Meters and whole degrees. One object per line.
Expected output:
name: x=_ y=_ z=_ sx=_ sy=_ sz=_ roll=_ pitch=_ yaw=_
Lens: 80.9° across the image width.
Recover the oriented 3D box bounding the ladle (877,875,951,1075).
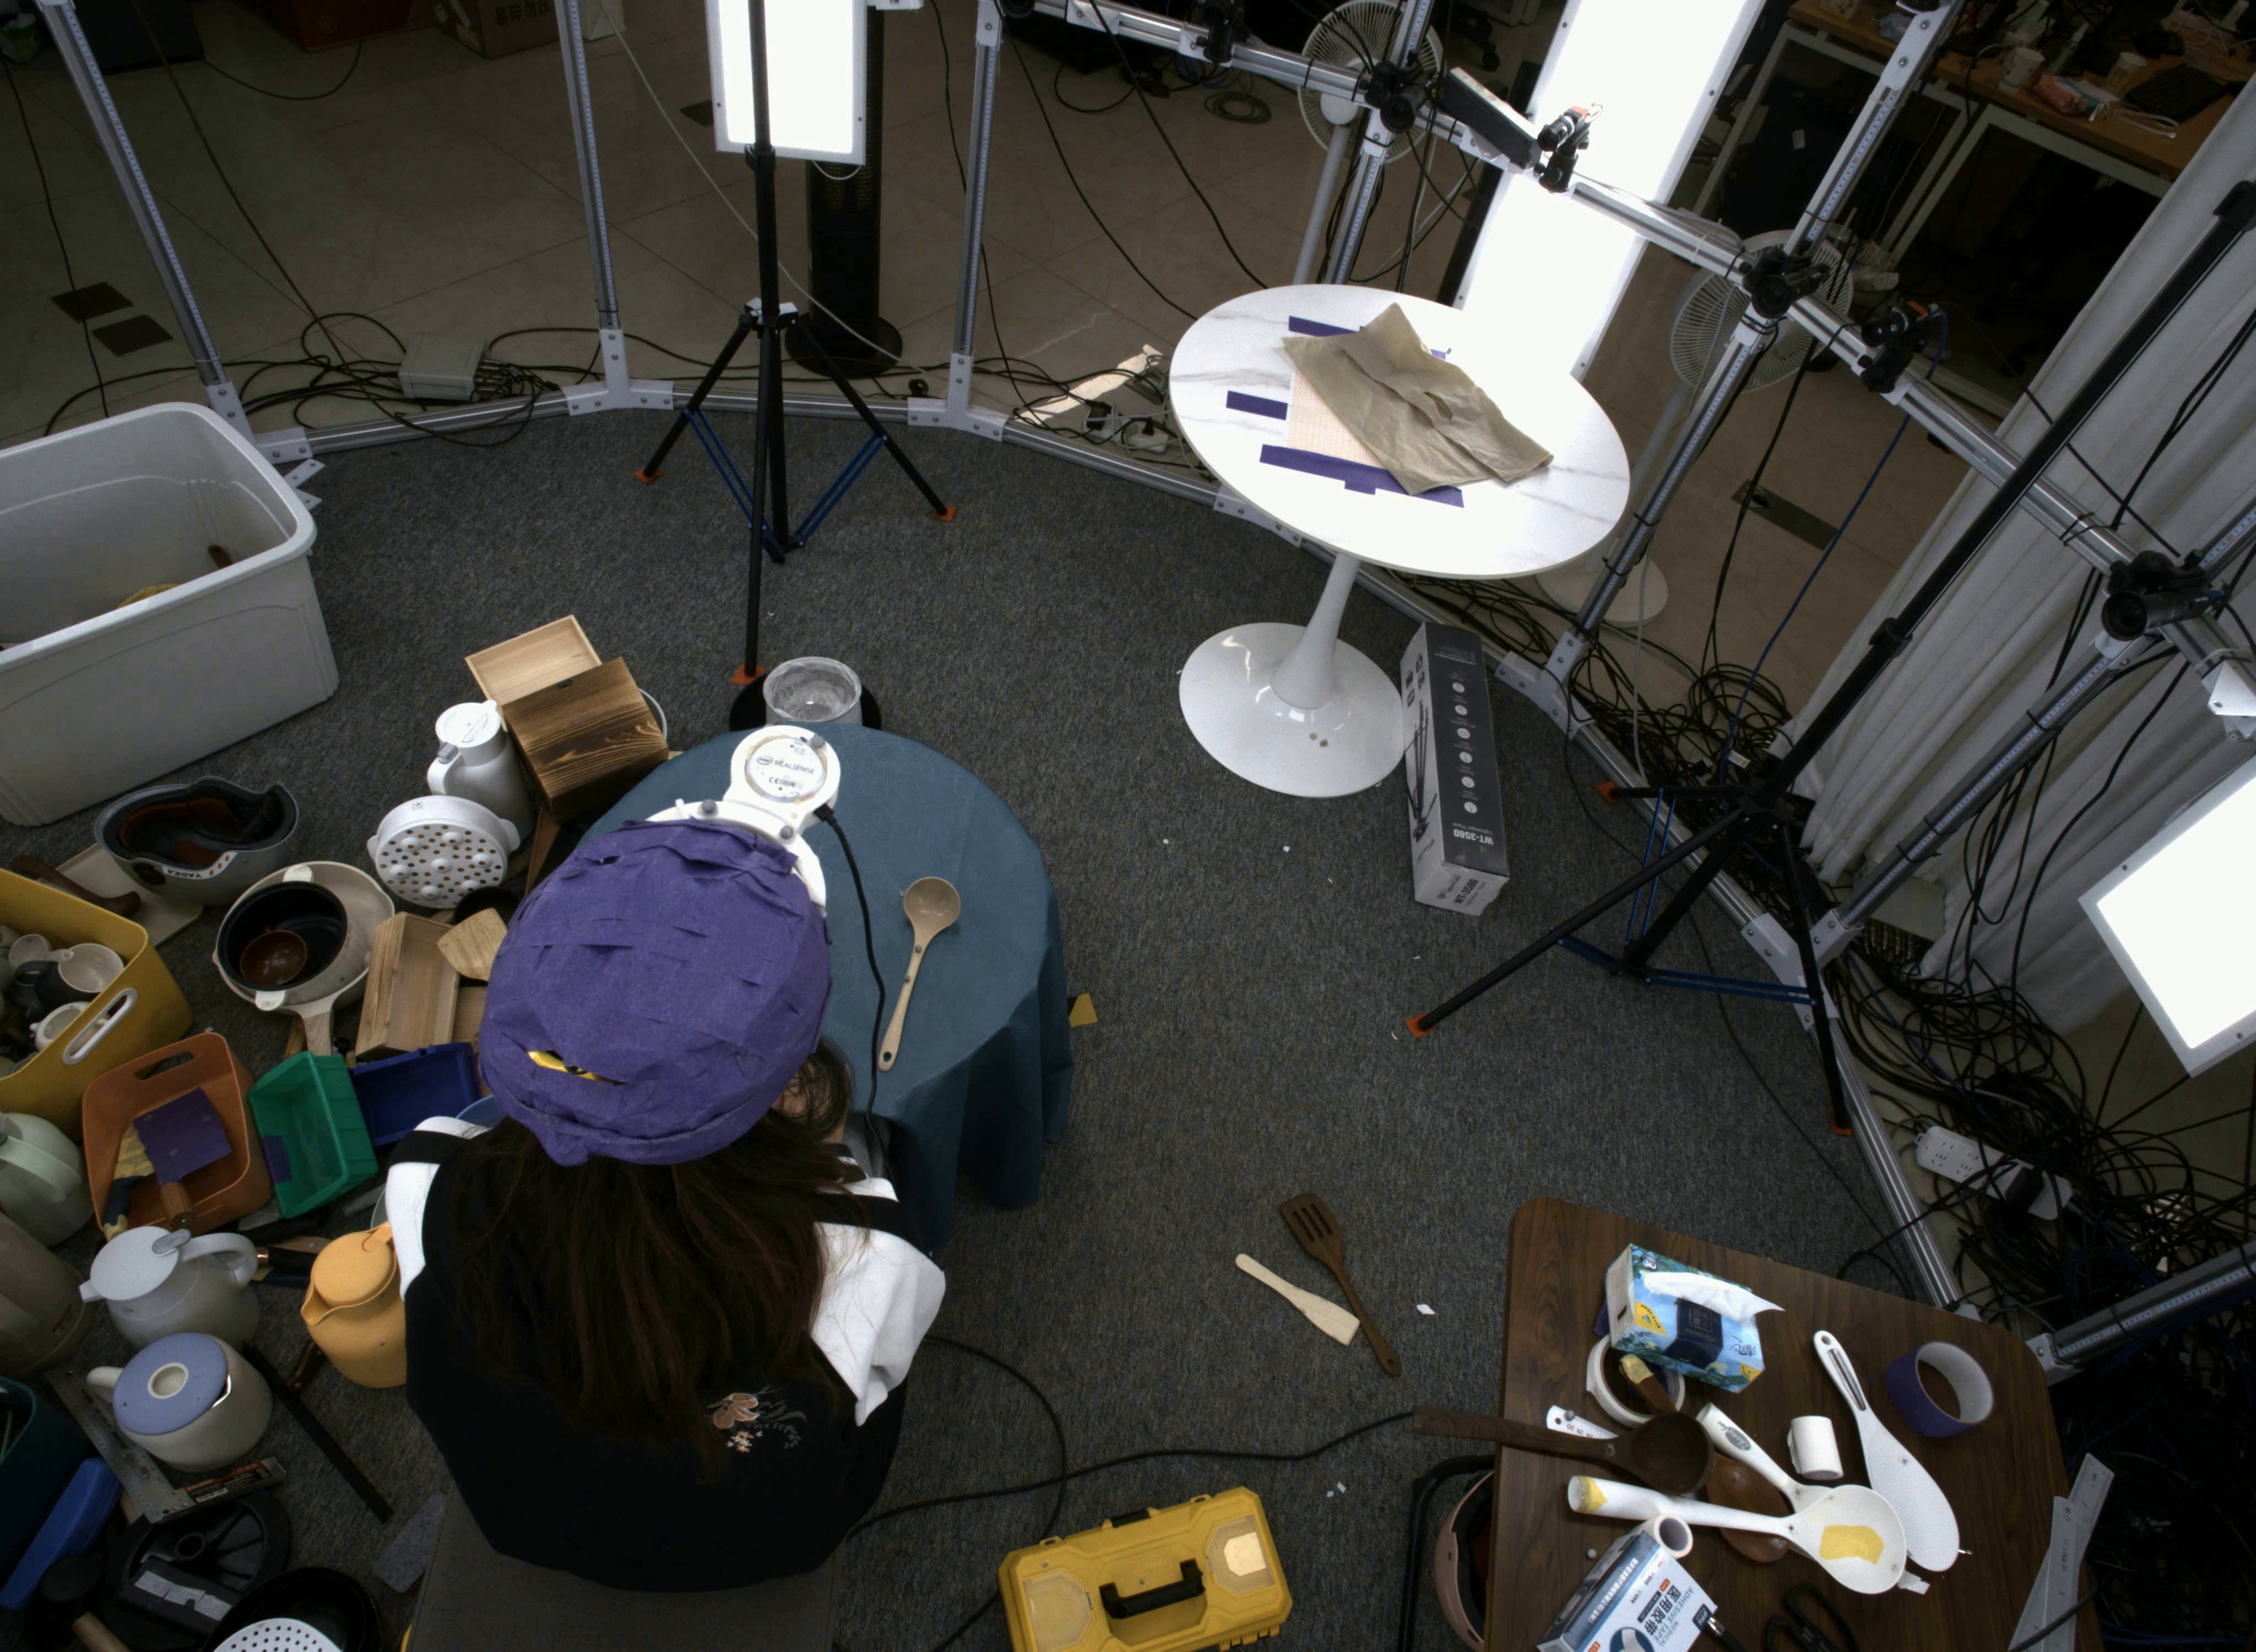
ladle: x=-0.269 y=0.171 z=1.584 sx=0.072 sy=0.074 sz=0.250 roll=14 pitch=52 yaw=-8

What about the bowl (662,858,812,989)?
bowl: x=-0.471 y=0.127 z=1.566 sx=0.175 sy=0.072 sz=0.173 roll=7 pitch=52 yaw=-8
